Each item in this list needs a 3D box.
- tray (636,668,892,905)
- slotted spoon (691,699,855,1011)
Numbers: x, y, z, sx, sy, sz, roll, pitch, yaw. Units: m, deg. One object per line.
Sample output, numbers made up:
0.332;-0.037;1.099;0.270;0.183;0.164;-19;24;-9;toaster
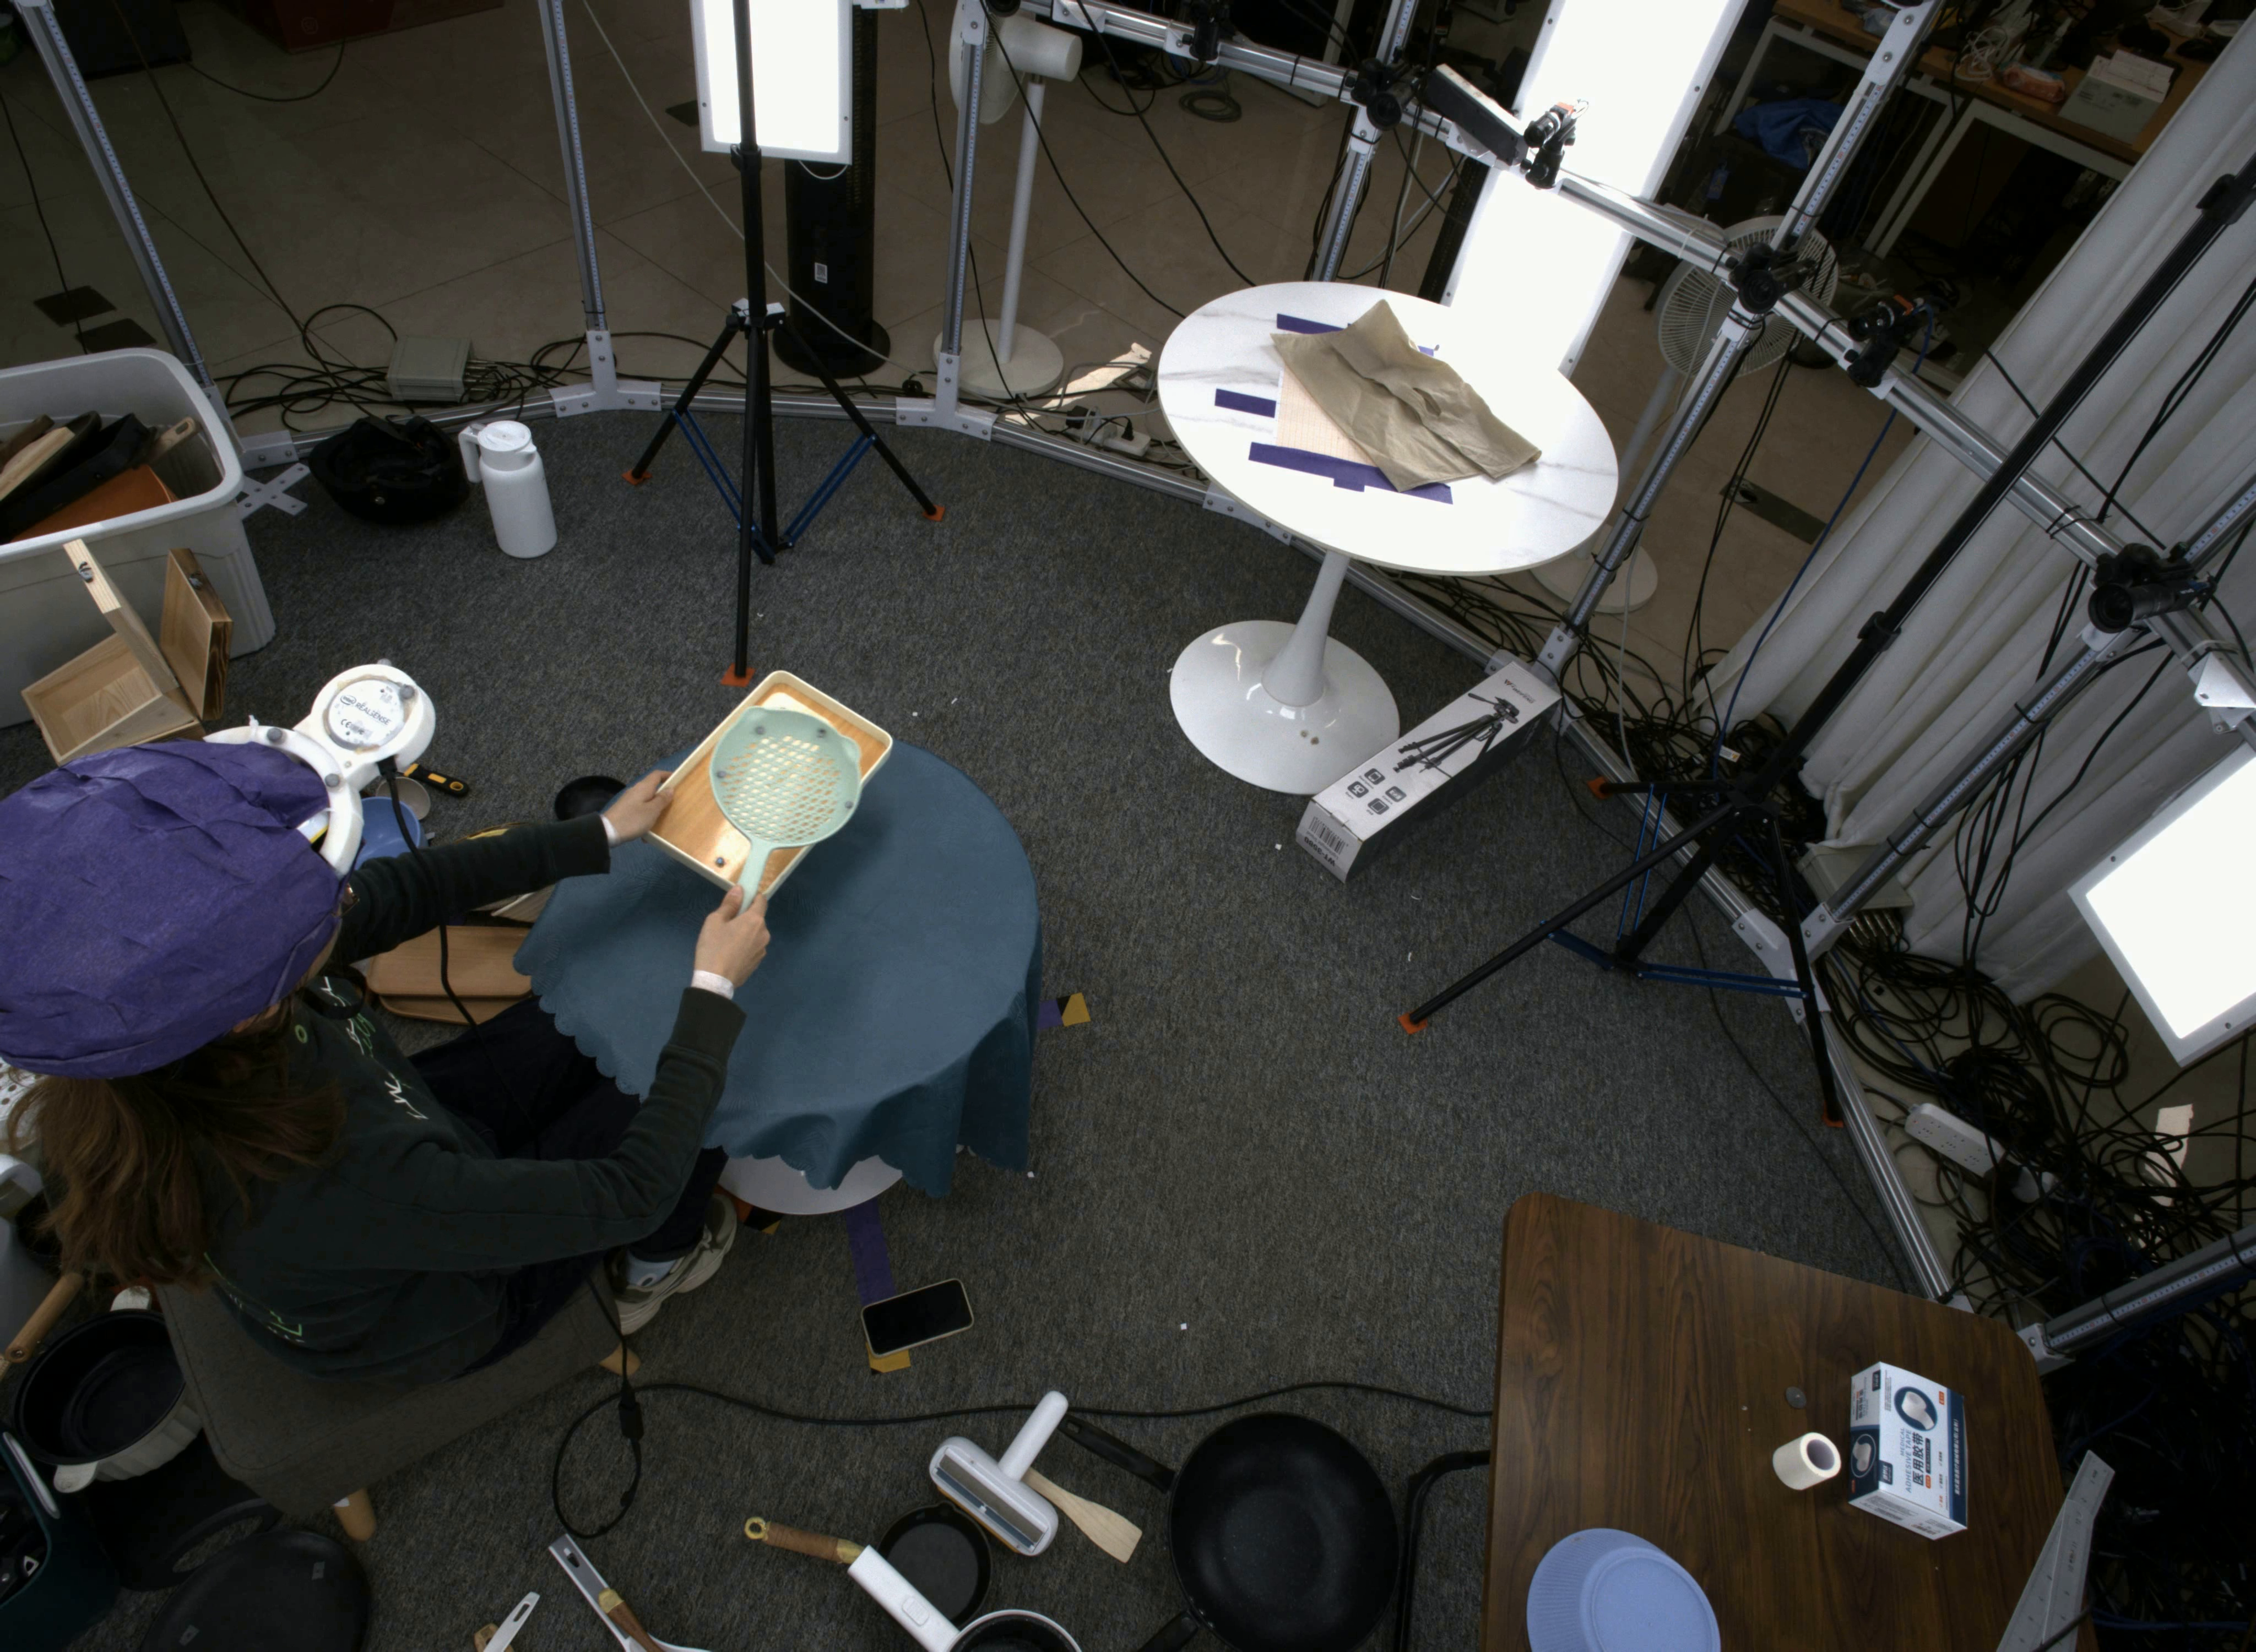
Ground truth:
-0.452;-0.056;1.624;0.190;0.028;0.299;32;55;1;tray
-0.414;0.027;1.424;0.171;0.075;0.354;21;55;-17;slotted spoon
